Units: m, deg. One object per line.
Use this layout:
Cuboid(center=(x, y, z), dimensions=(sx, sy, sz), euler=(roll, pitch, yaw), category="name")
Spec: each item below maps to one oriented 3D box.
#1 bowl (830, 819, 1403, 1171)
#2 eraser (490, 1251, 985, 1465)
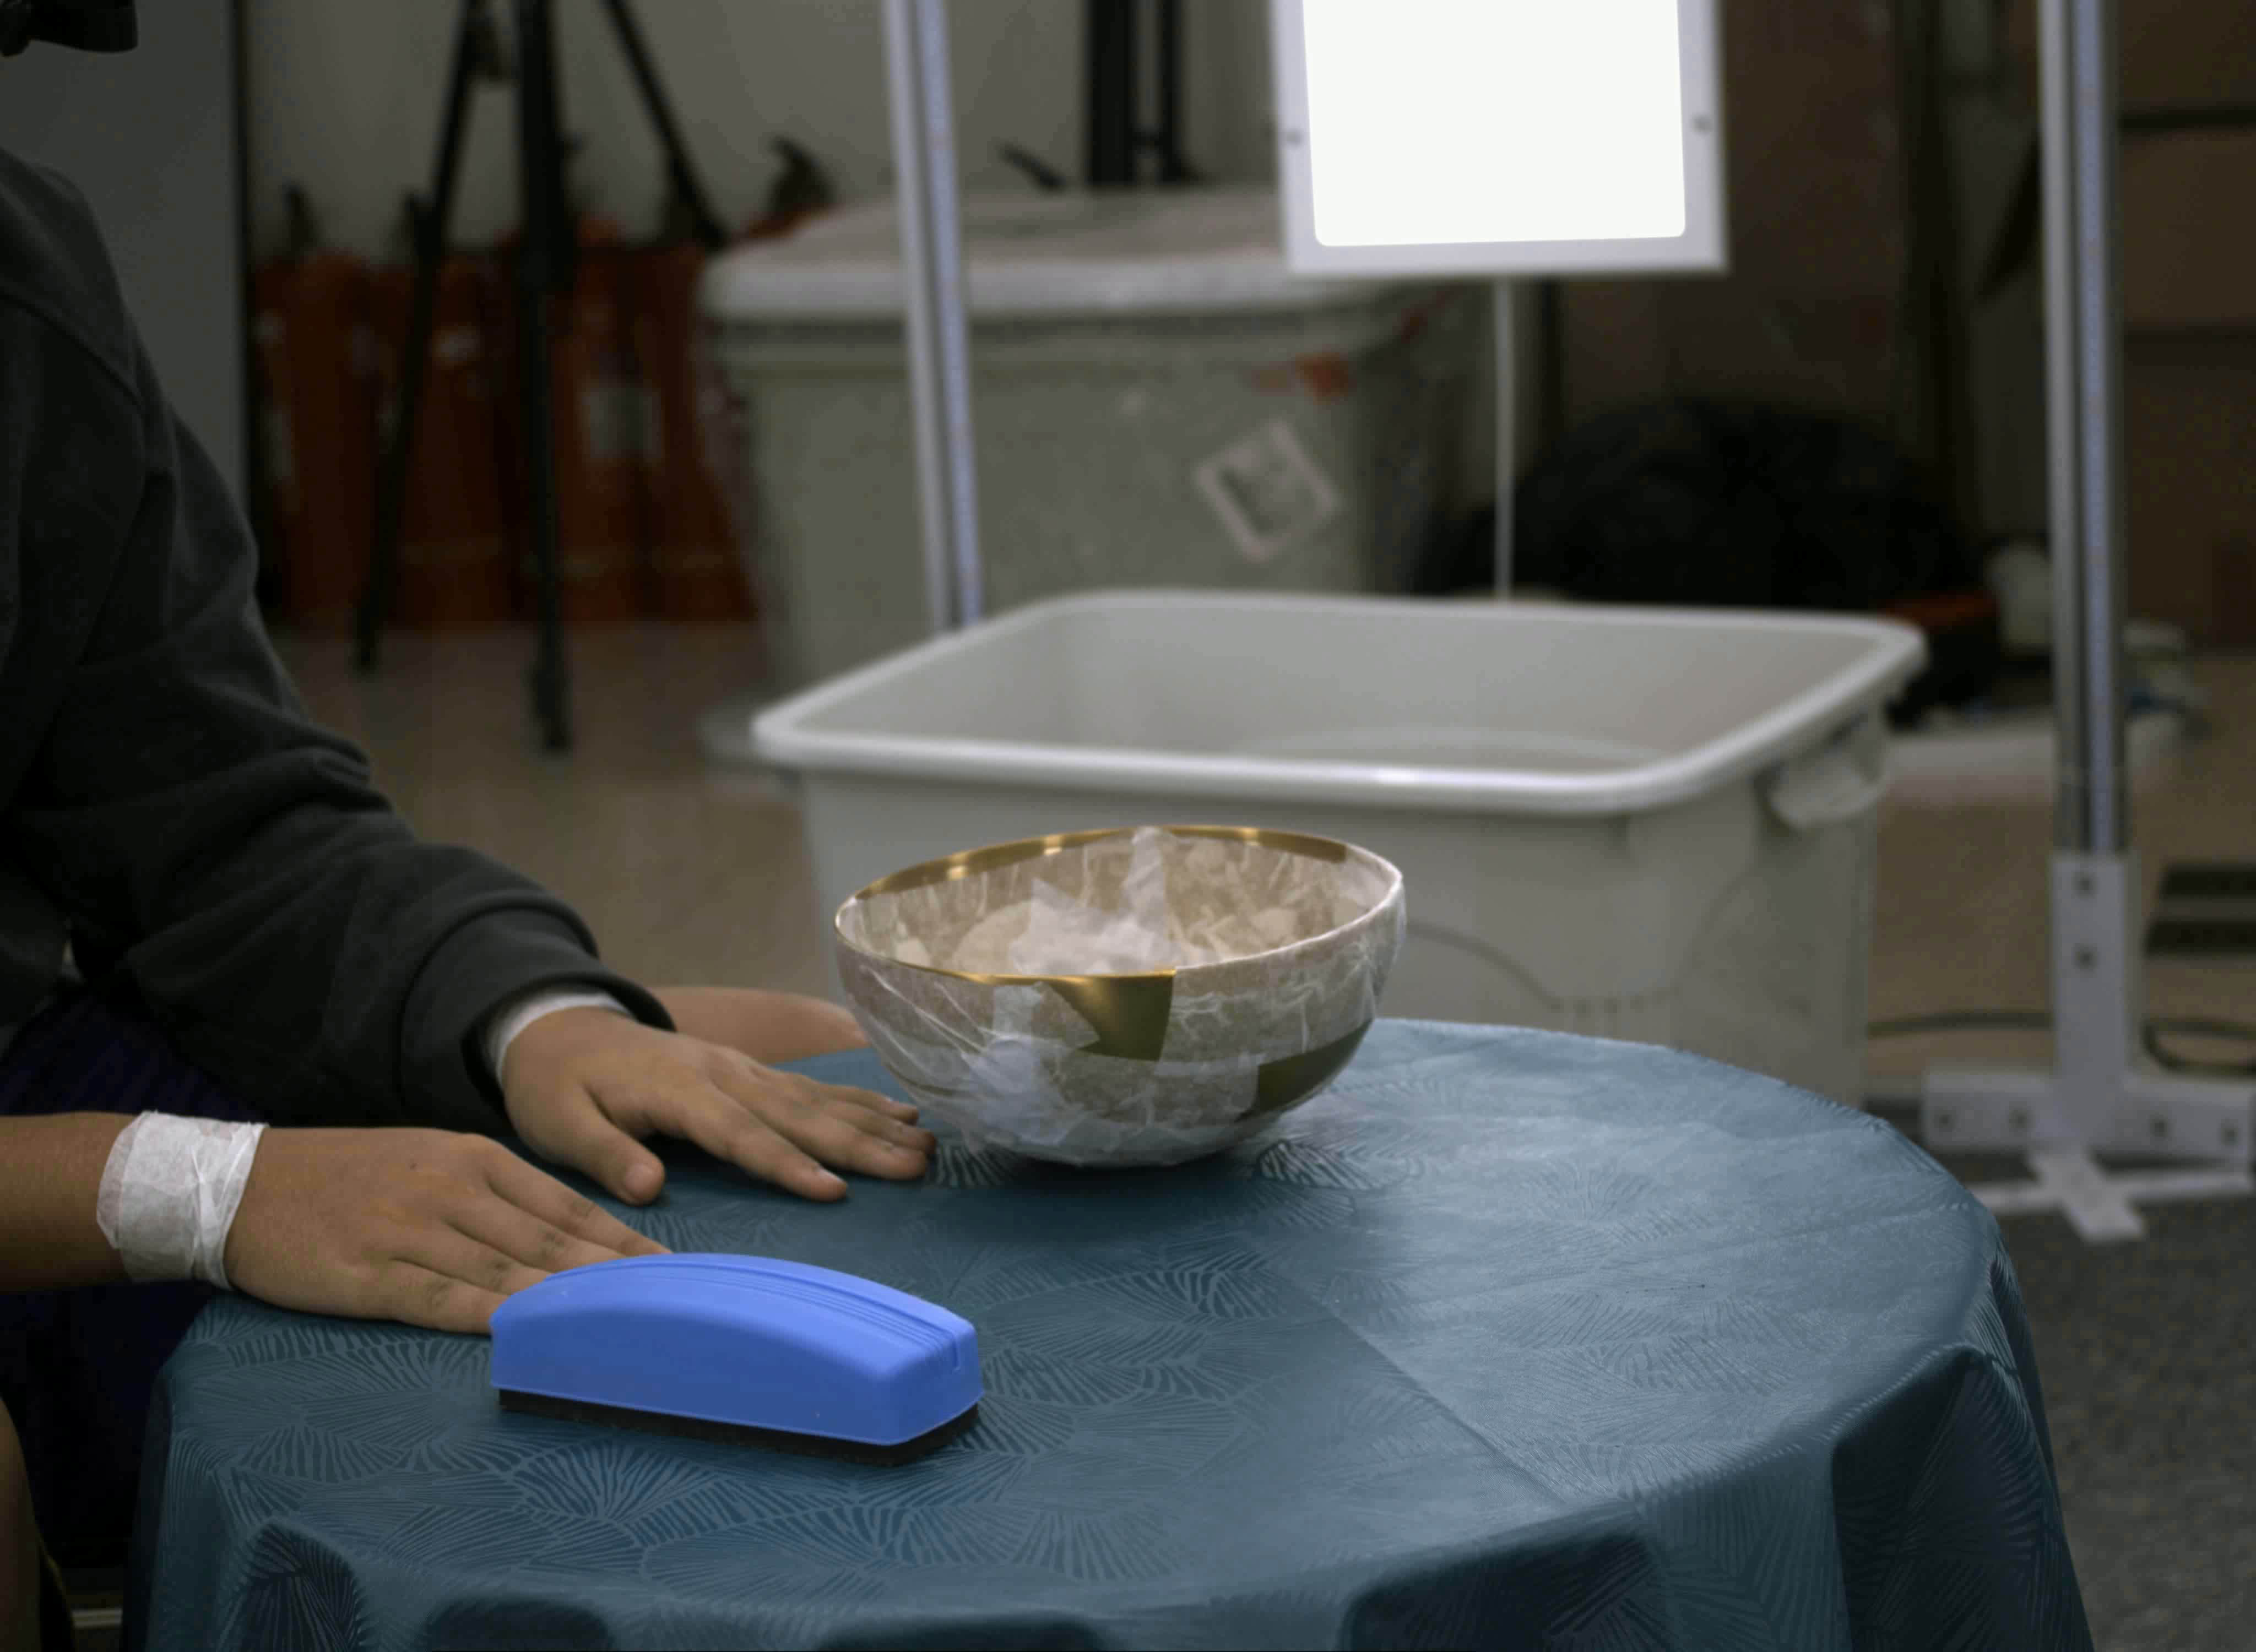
Cuboid(center=(-0.004, 0.066, 1.946), dimensions=(0.214, 0.095, 0.214), euler=(-5, 15, 0), category="bowl")
Cuboid(center=(-0.123, 0.161, 1.707), dimensions=(0.165, 0.048, 0.052), euler=(4, 18, 33), category="eraser")
